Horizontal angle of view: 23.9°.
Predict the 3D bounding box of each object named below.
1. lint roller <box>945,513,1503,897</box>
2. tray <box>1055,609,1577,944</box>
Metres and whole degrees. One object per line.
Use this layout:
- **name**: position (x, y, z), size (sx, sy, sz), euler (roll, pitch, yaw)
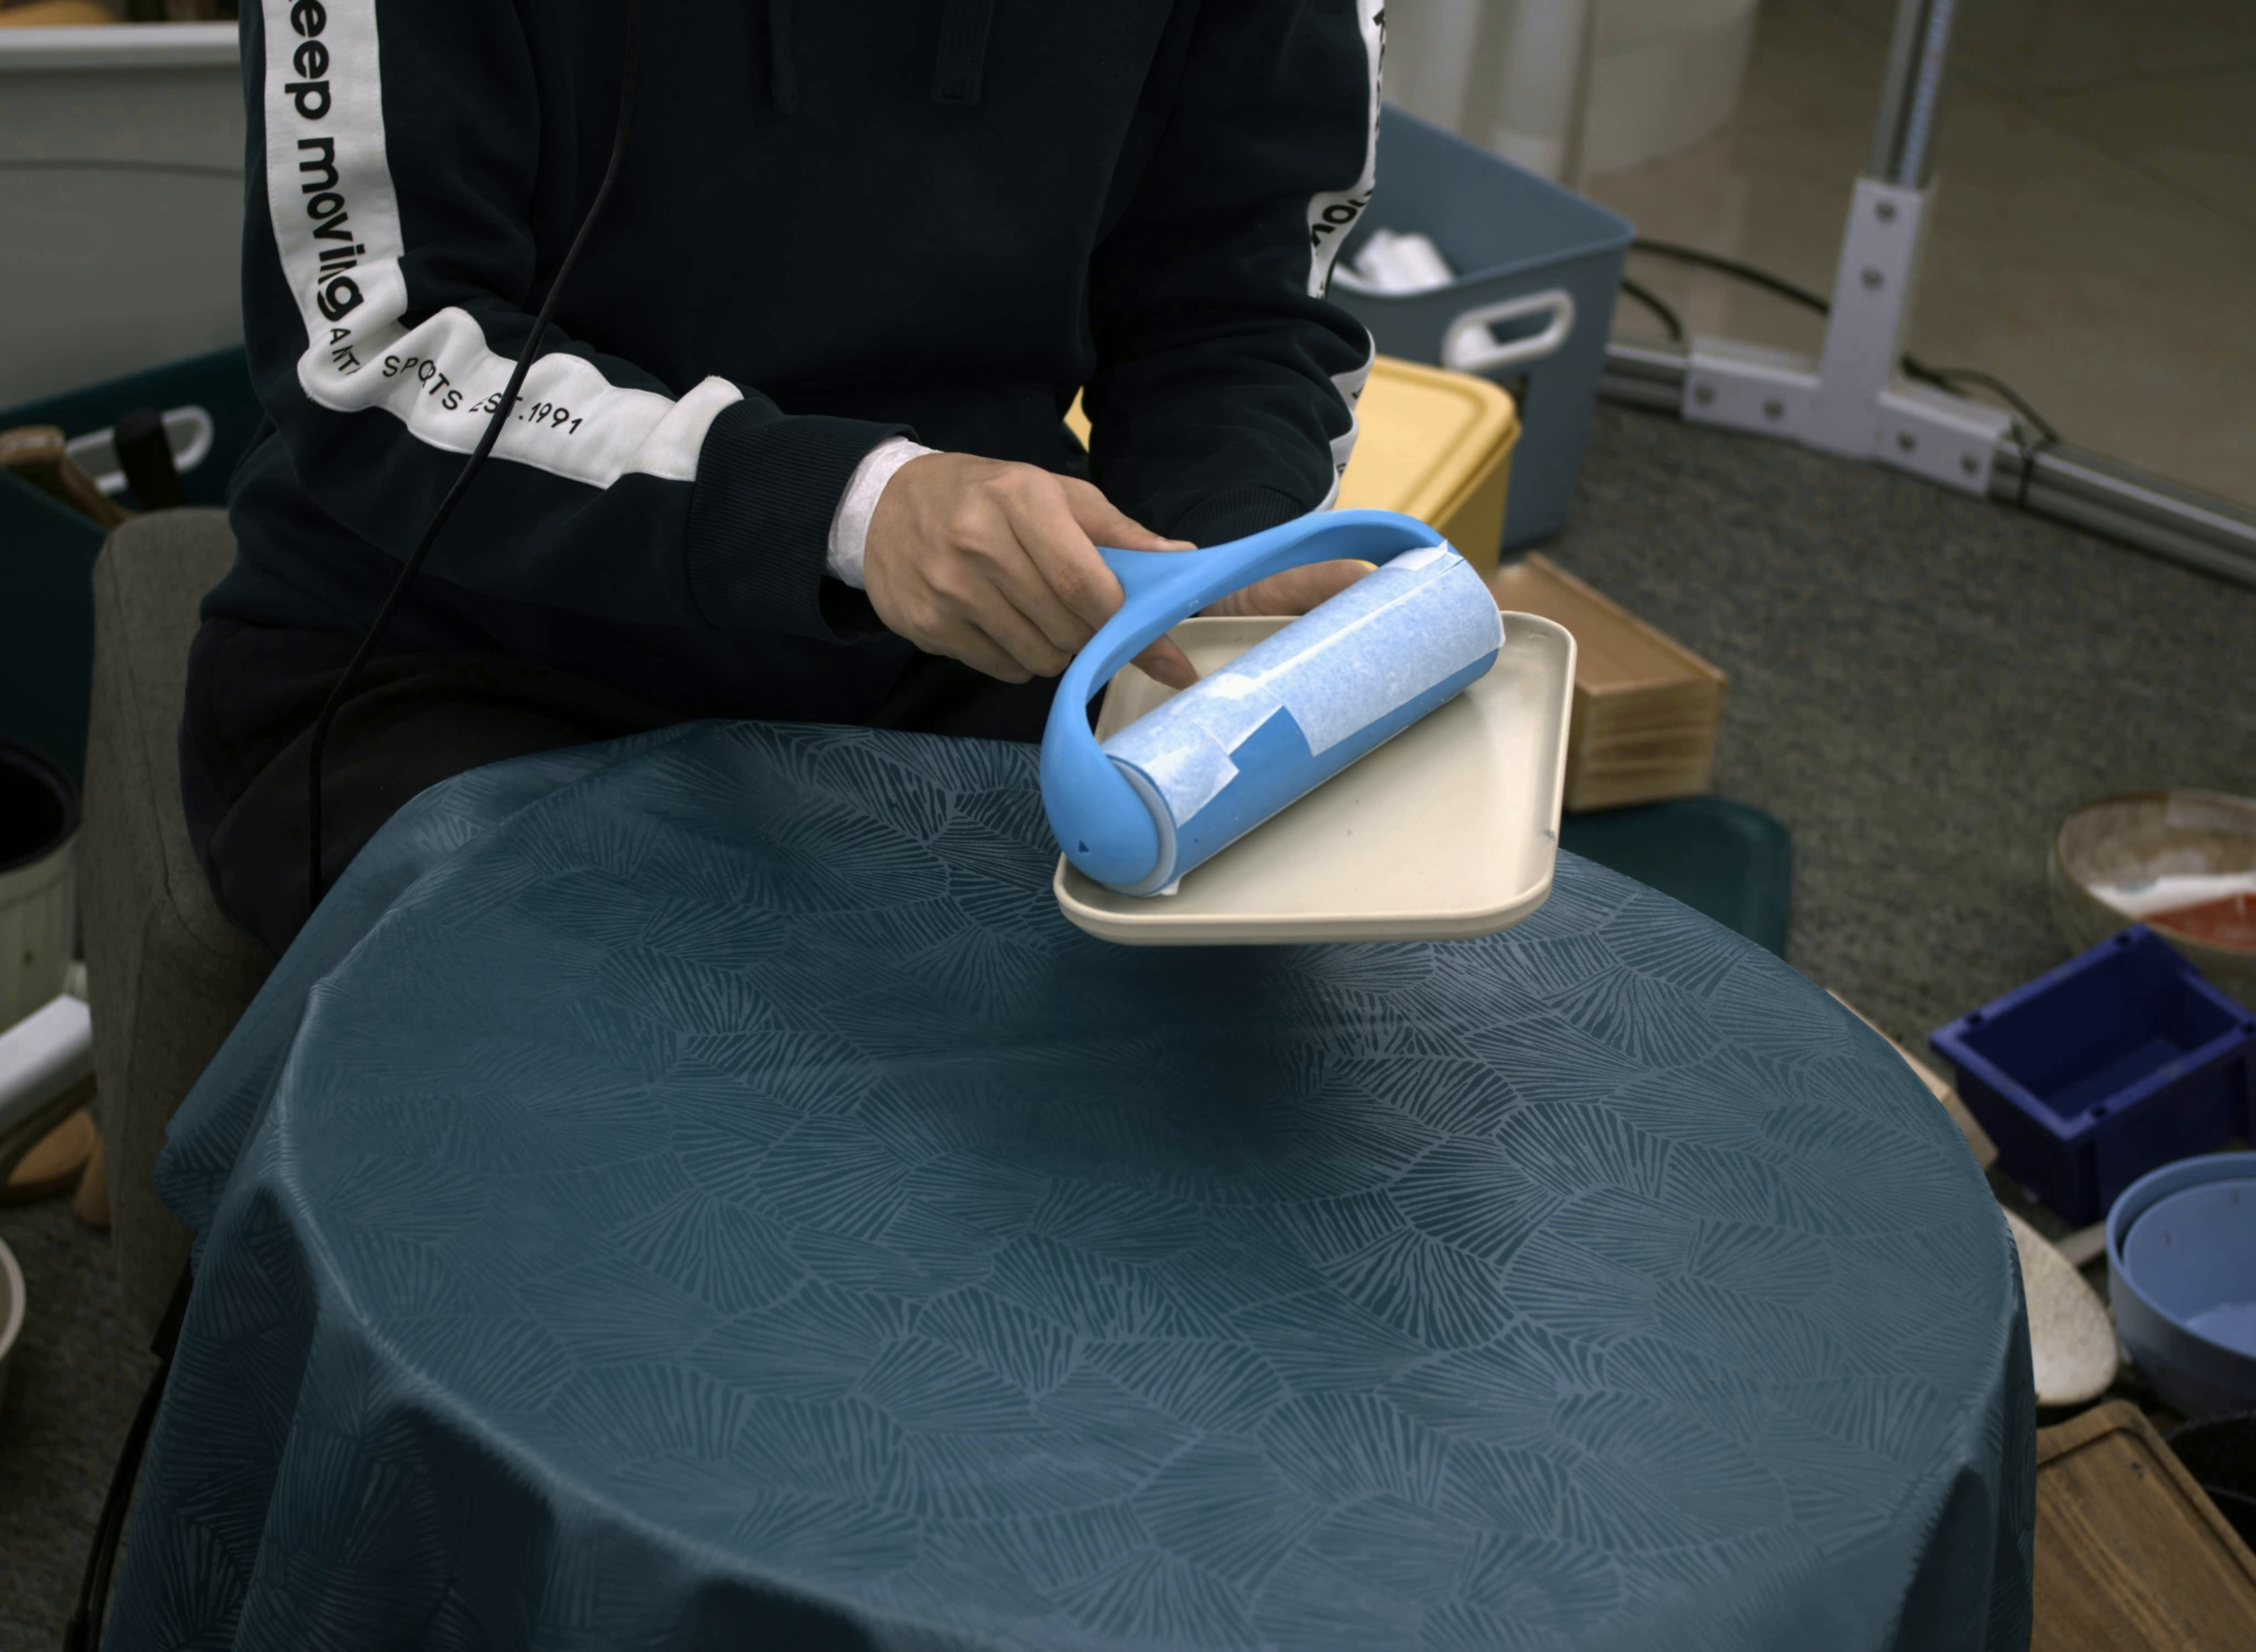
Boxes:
- **lint roller**: position (0.009, -0.062, 1.887), size (0.181, 0.067, 0.228), euler (25, 39, 26)
- **tray**: position (0.070, -0.018, 1.866), size (0.171, 0.017, 0.241), euler (-2, 26, 9)
